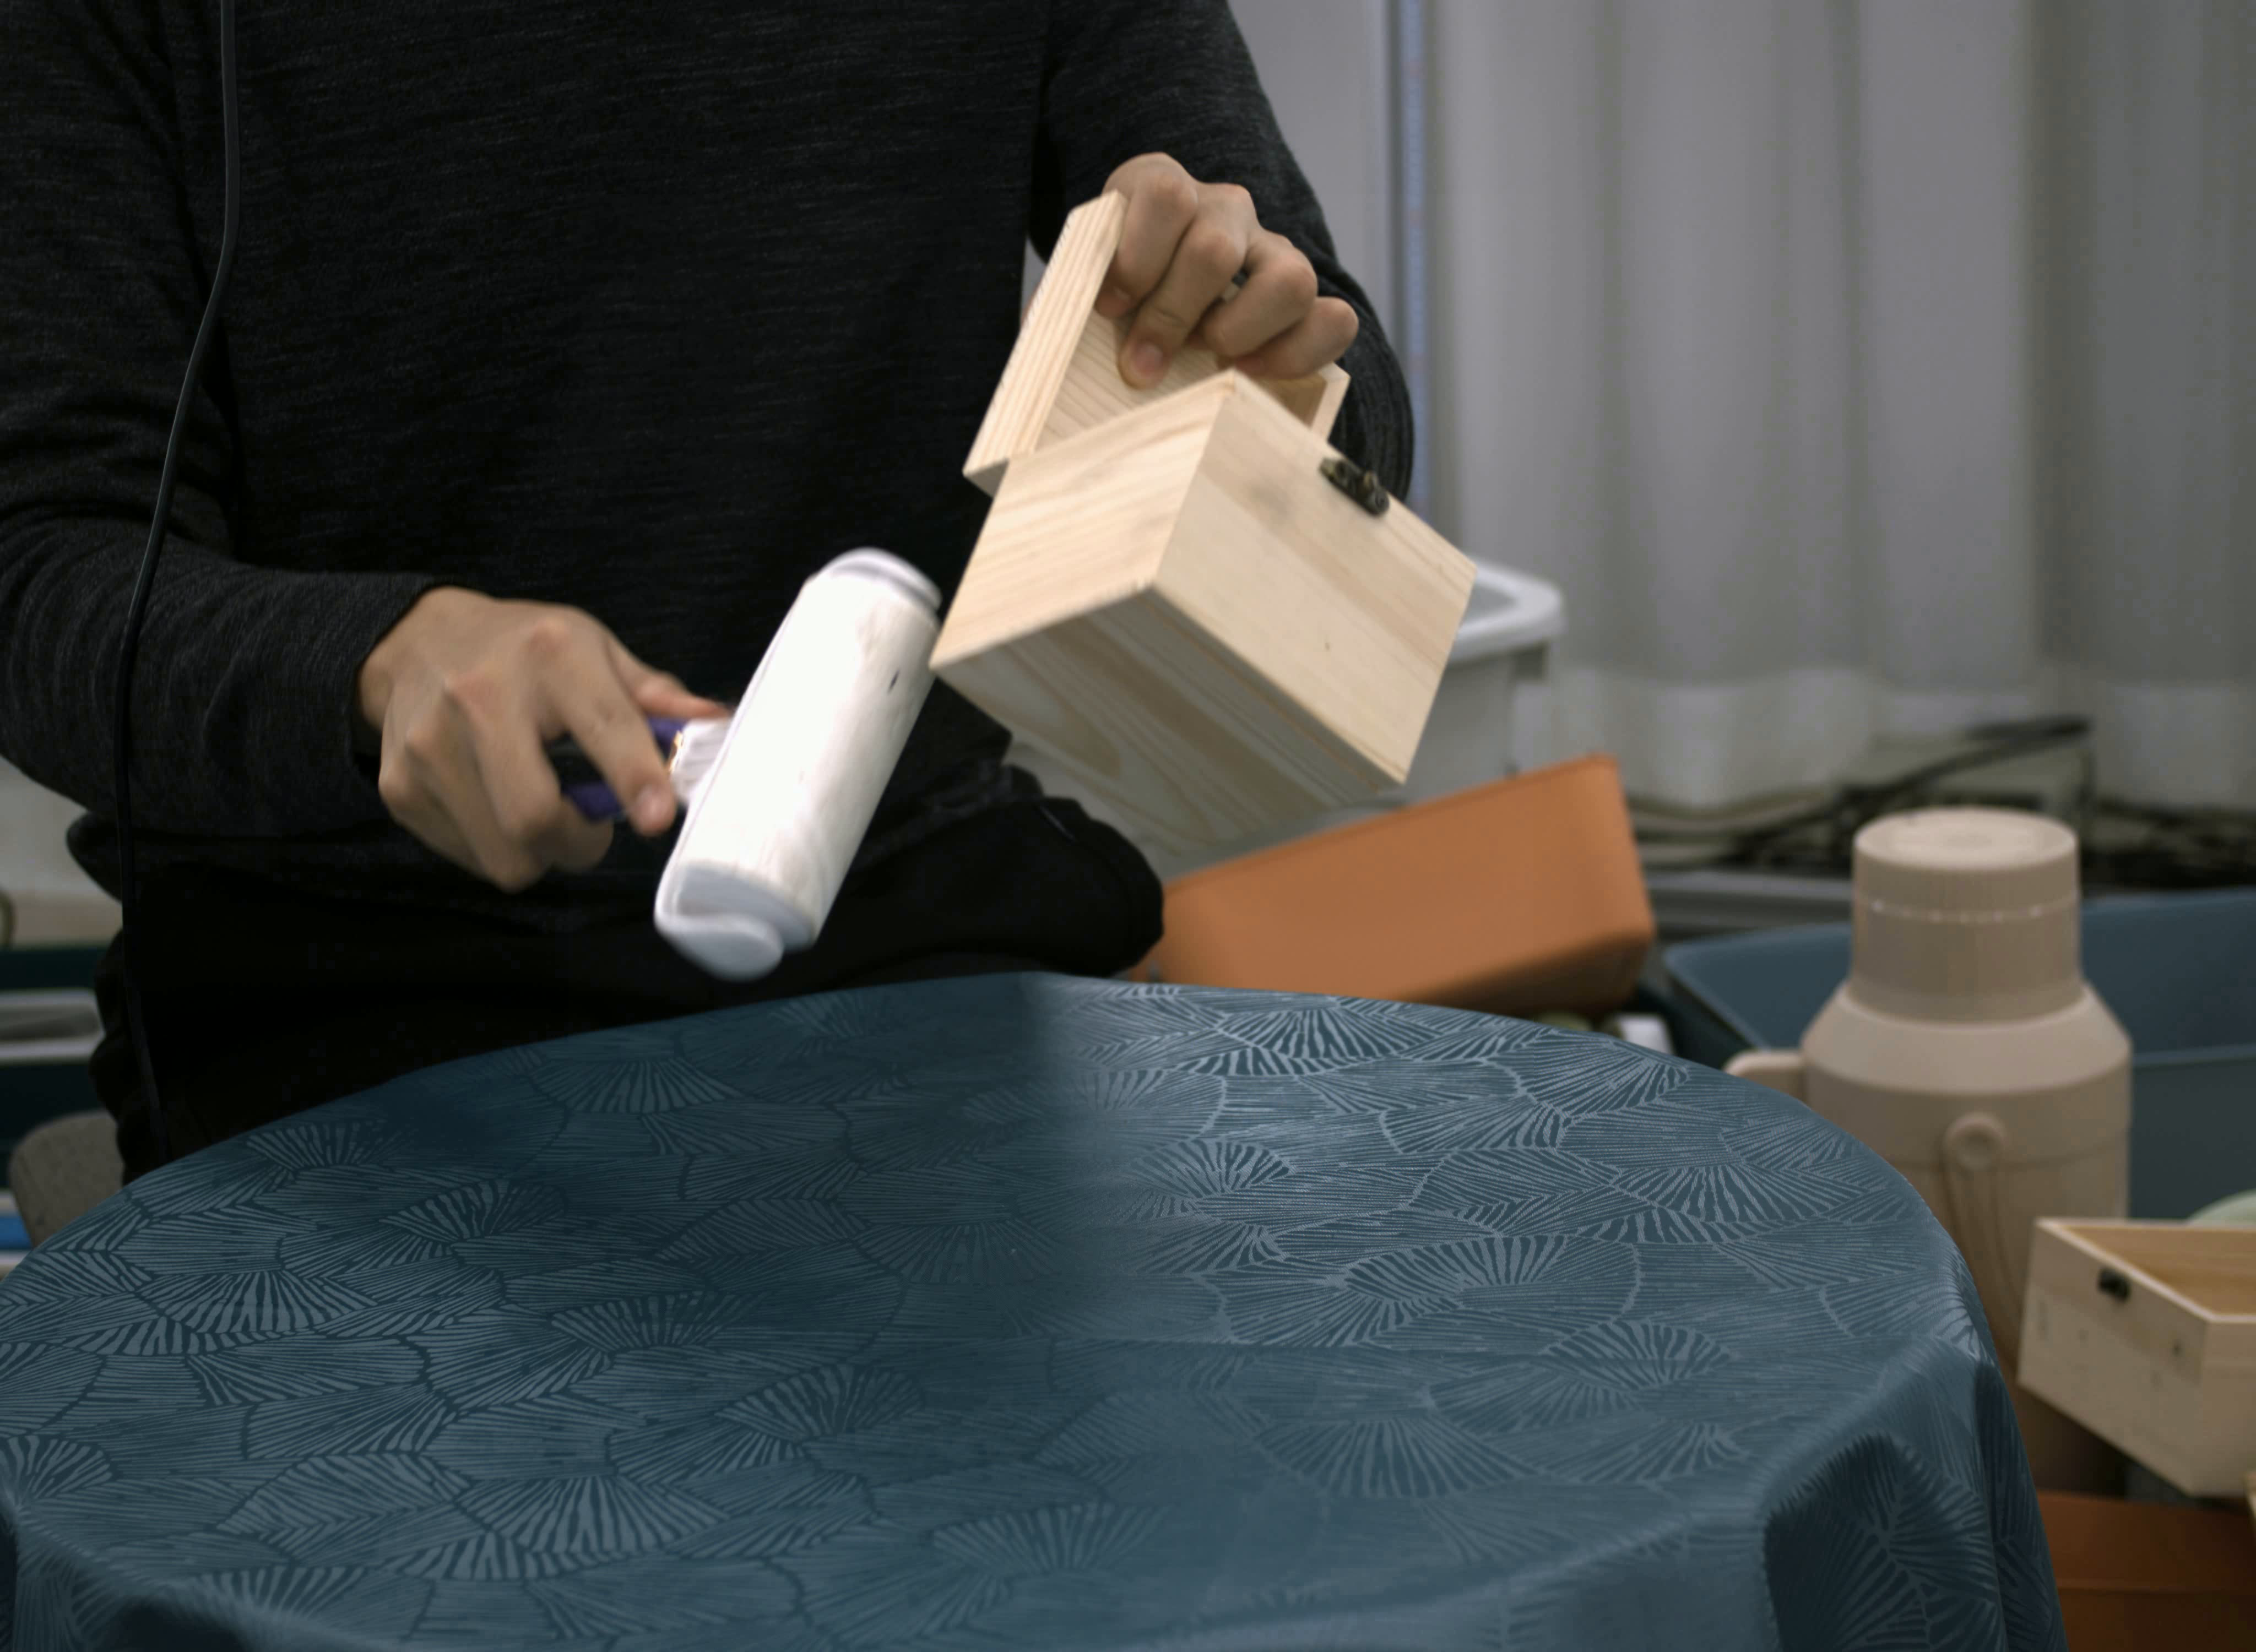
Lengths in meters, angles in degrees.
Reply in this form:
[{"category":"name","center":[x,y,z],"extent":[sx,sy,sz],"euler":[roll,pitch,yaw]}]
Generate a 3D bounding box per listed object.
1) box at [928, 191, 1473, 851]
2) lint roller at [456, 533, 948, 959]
[{"category":"box","center":[0.031,-0.102,1.597],"extent":[0.133,0.101,0.186],"euler":[-19,41,46]},{"category":"lint roller","center":[-0.141,-0.028,1.618],"extent":[0.181,0.134,0.049],"euler":[5,-29,38]}]
